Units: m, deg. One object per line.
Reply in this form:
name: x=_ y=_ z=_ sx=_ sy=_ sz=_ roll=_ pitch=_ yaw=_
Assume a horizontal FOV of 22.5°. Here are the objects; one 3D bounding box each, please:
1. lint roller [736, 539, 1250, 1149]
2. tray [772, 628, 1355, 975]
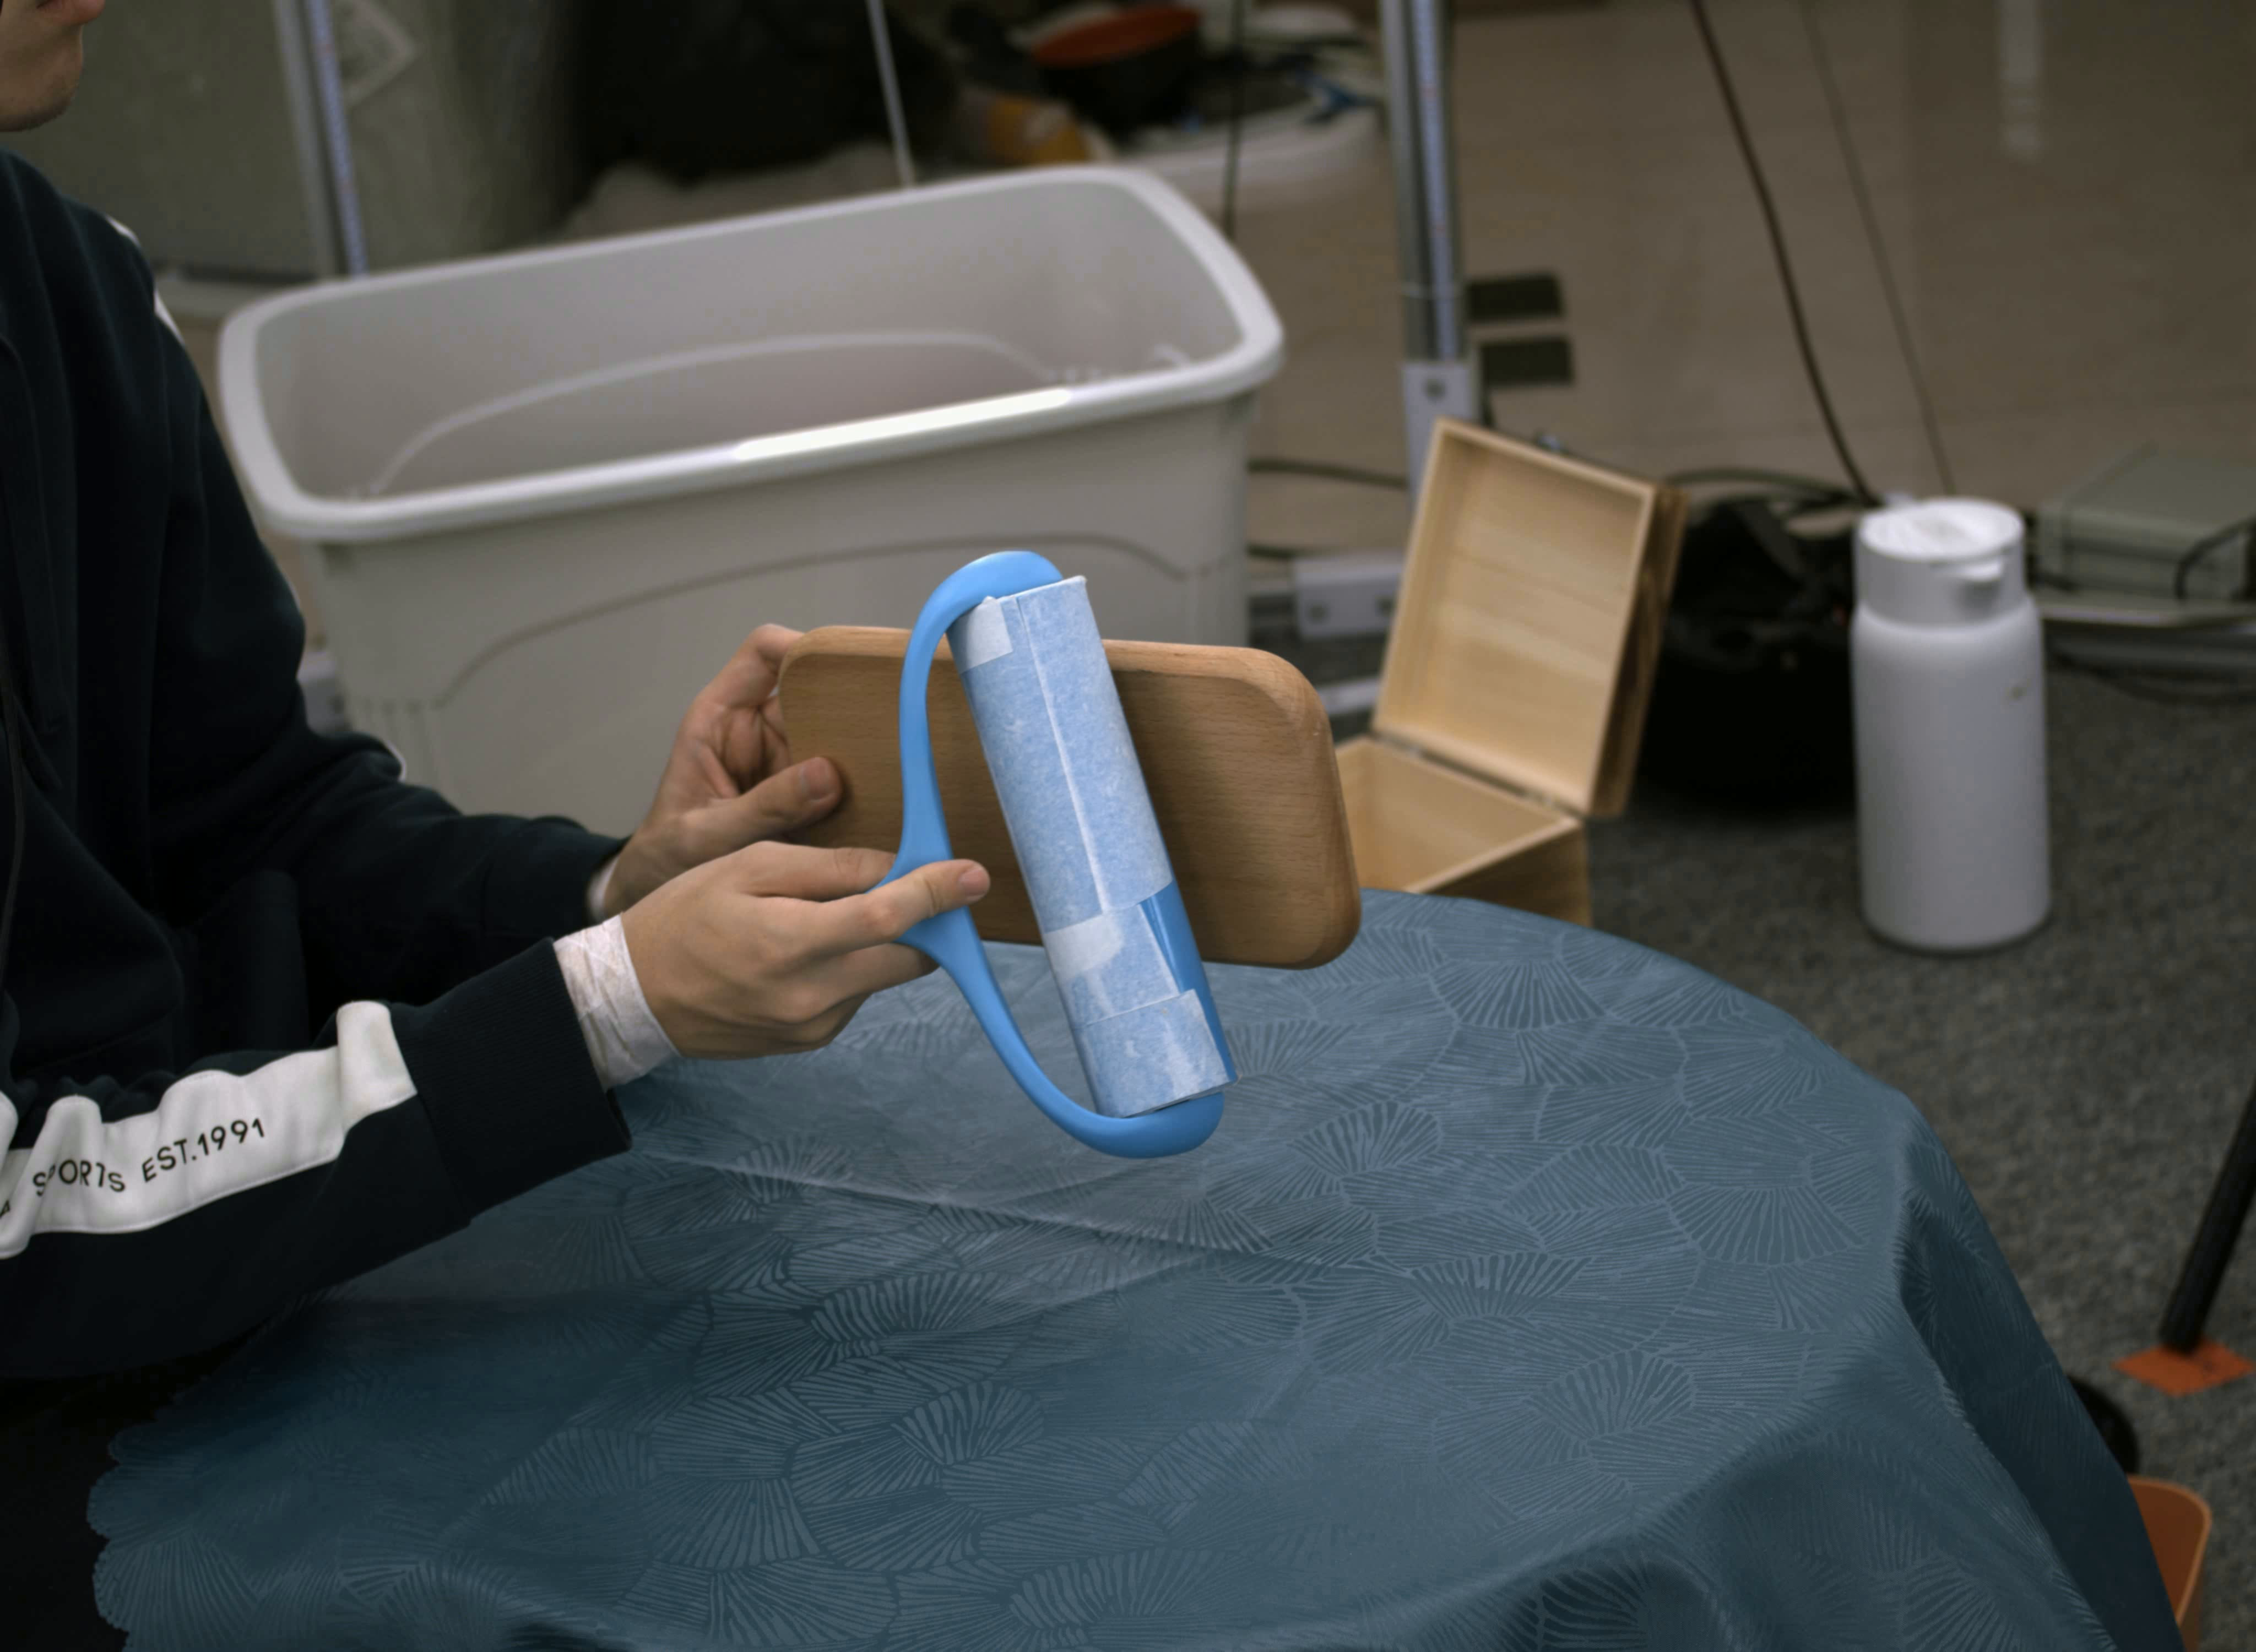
lint roller: x=-0.066 y=0.027 z=2.066 sx=0.180 sy=0.229 sz=0.067 roll=-20 pitch=2 yaw=12
tray: x=-0.029 y=-0.009 z=2.121 sx=0.250 sy=0.132 sz=0.022 roll=3 pitch=22 yaw=35
